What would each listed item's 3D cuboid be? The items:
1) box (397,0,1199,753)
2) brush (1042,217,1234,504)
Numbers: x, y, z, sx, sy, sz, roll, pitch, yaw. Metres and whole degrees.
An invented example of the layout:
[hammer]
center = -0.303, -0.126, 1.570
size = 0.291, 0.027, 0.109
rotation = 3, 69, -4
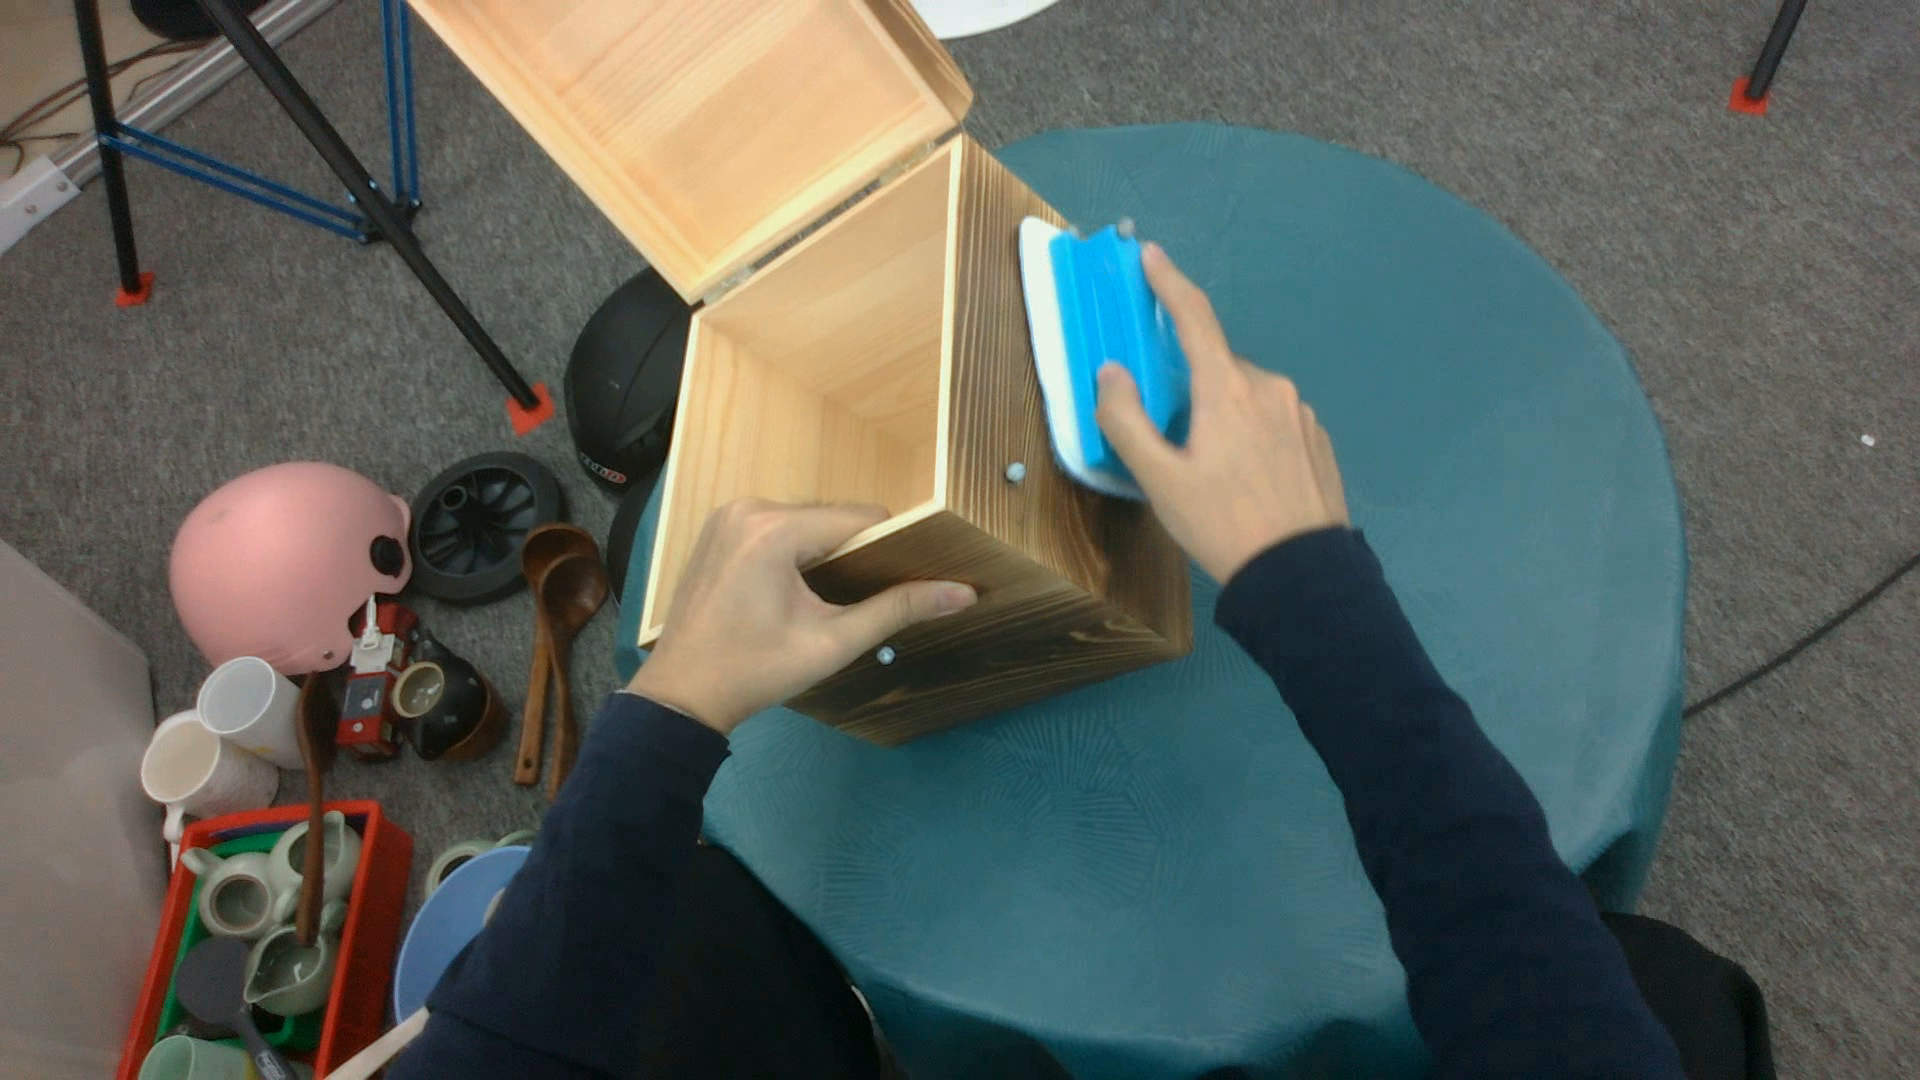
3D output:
[box]
center = -0.085, -0.108, 0.673
size = 0.208, 0.375, 0.323
rotation = -25, 51, 37
[brush]
center = 0.089, -0.090, 0.642
size = 0.055, 0.084, 0.144
rotation = -33, 59, 40
